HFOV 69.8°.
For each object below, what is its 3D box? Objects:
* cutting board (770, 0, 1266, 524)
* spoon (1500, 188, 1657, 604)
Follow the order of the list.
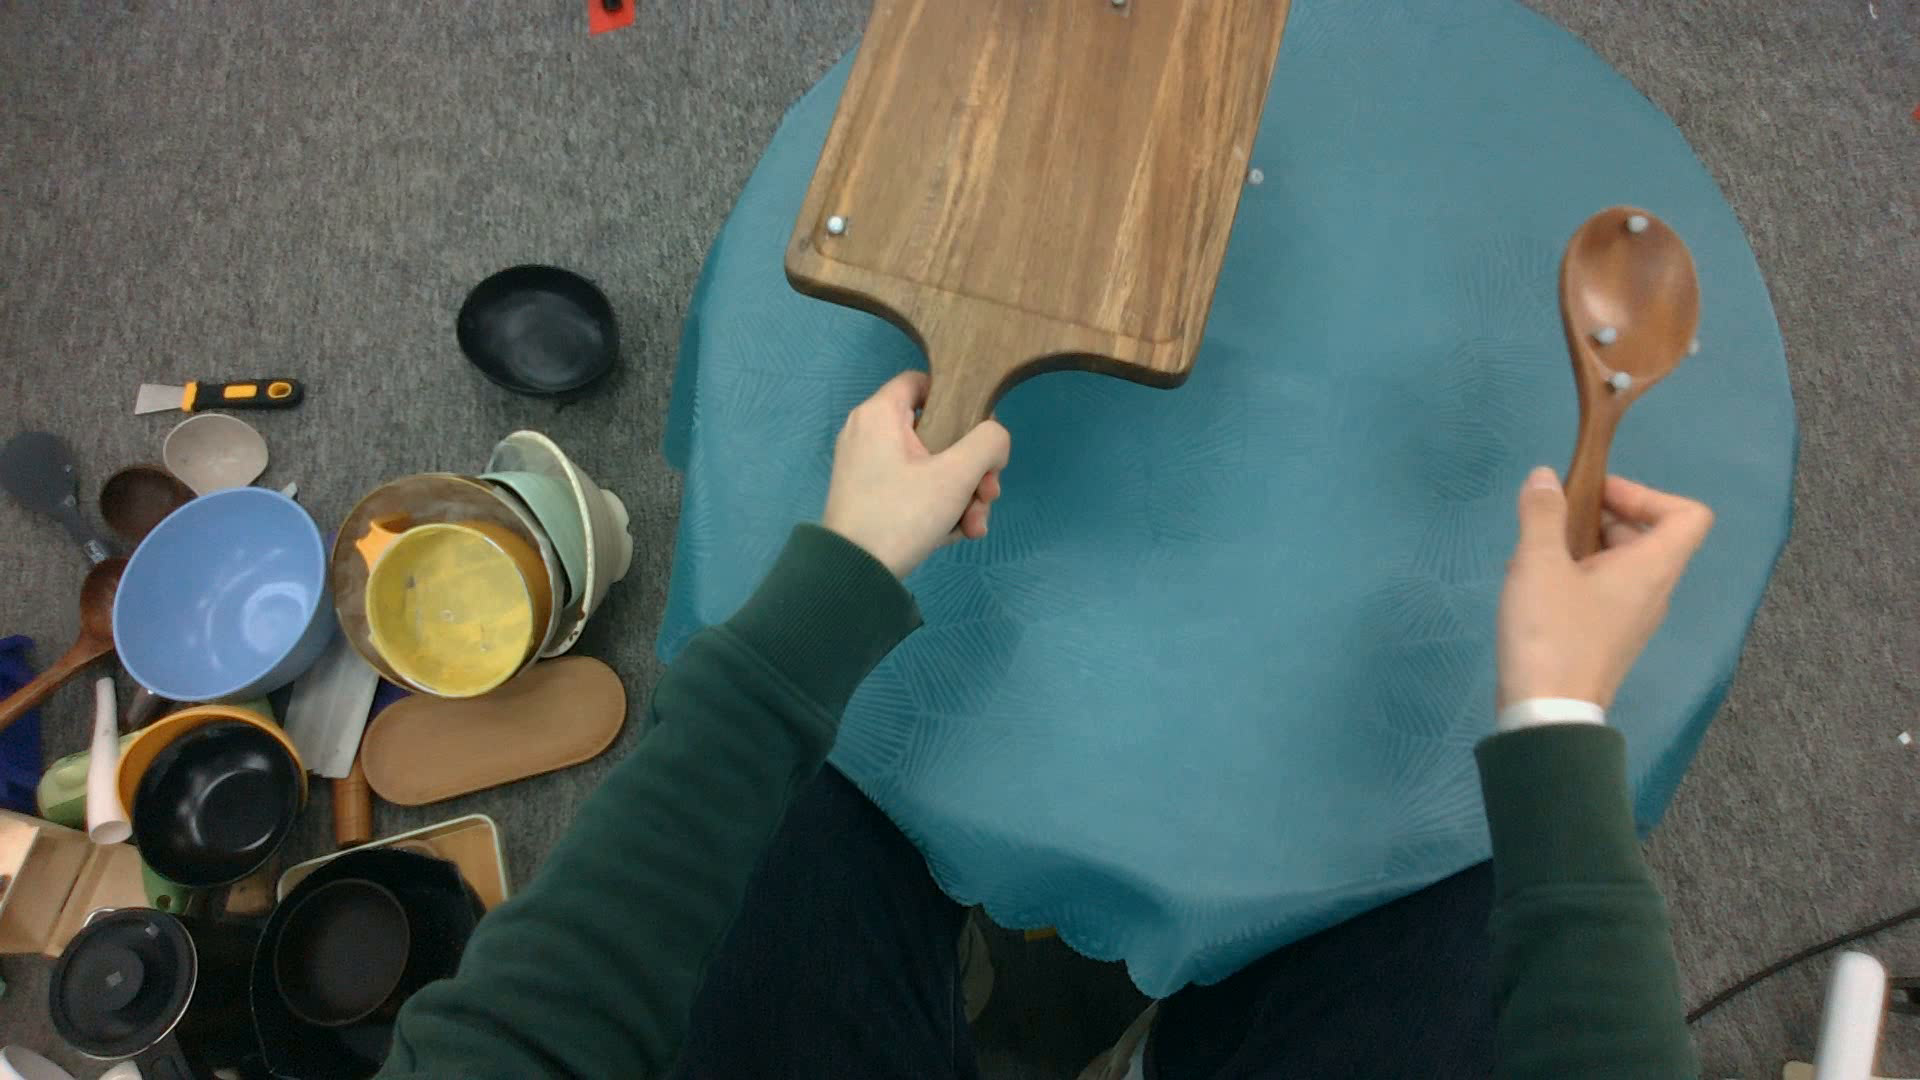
[{"bbox_3d":[0.023,-0.172,0.660,0.201,0.023,0.353,15,71,3],"label":"cutting board"},{"bbox_3d":[0.274,-0.069,0.625,0.075,0.017,0.216,23,67,-9],"label":"spoon"}]
